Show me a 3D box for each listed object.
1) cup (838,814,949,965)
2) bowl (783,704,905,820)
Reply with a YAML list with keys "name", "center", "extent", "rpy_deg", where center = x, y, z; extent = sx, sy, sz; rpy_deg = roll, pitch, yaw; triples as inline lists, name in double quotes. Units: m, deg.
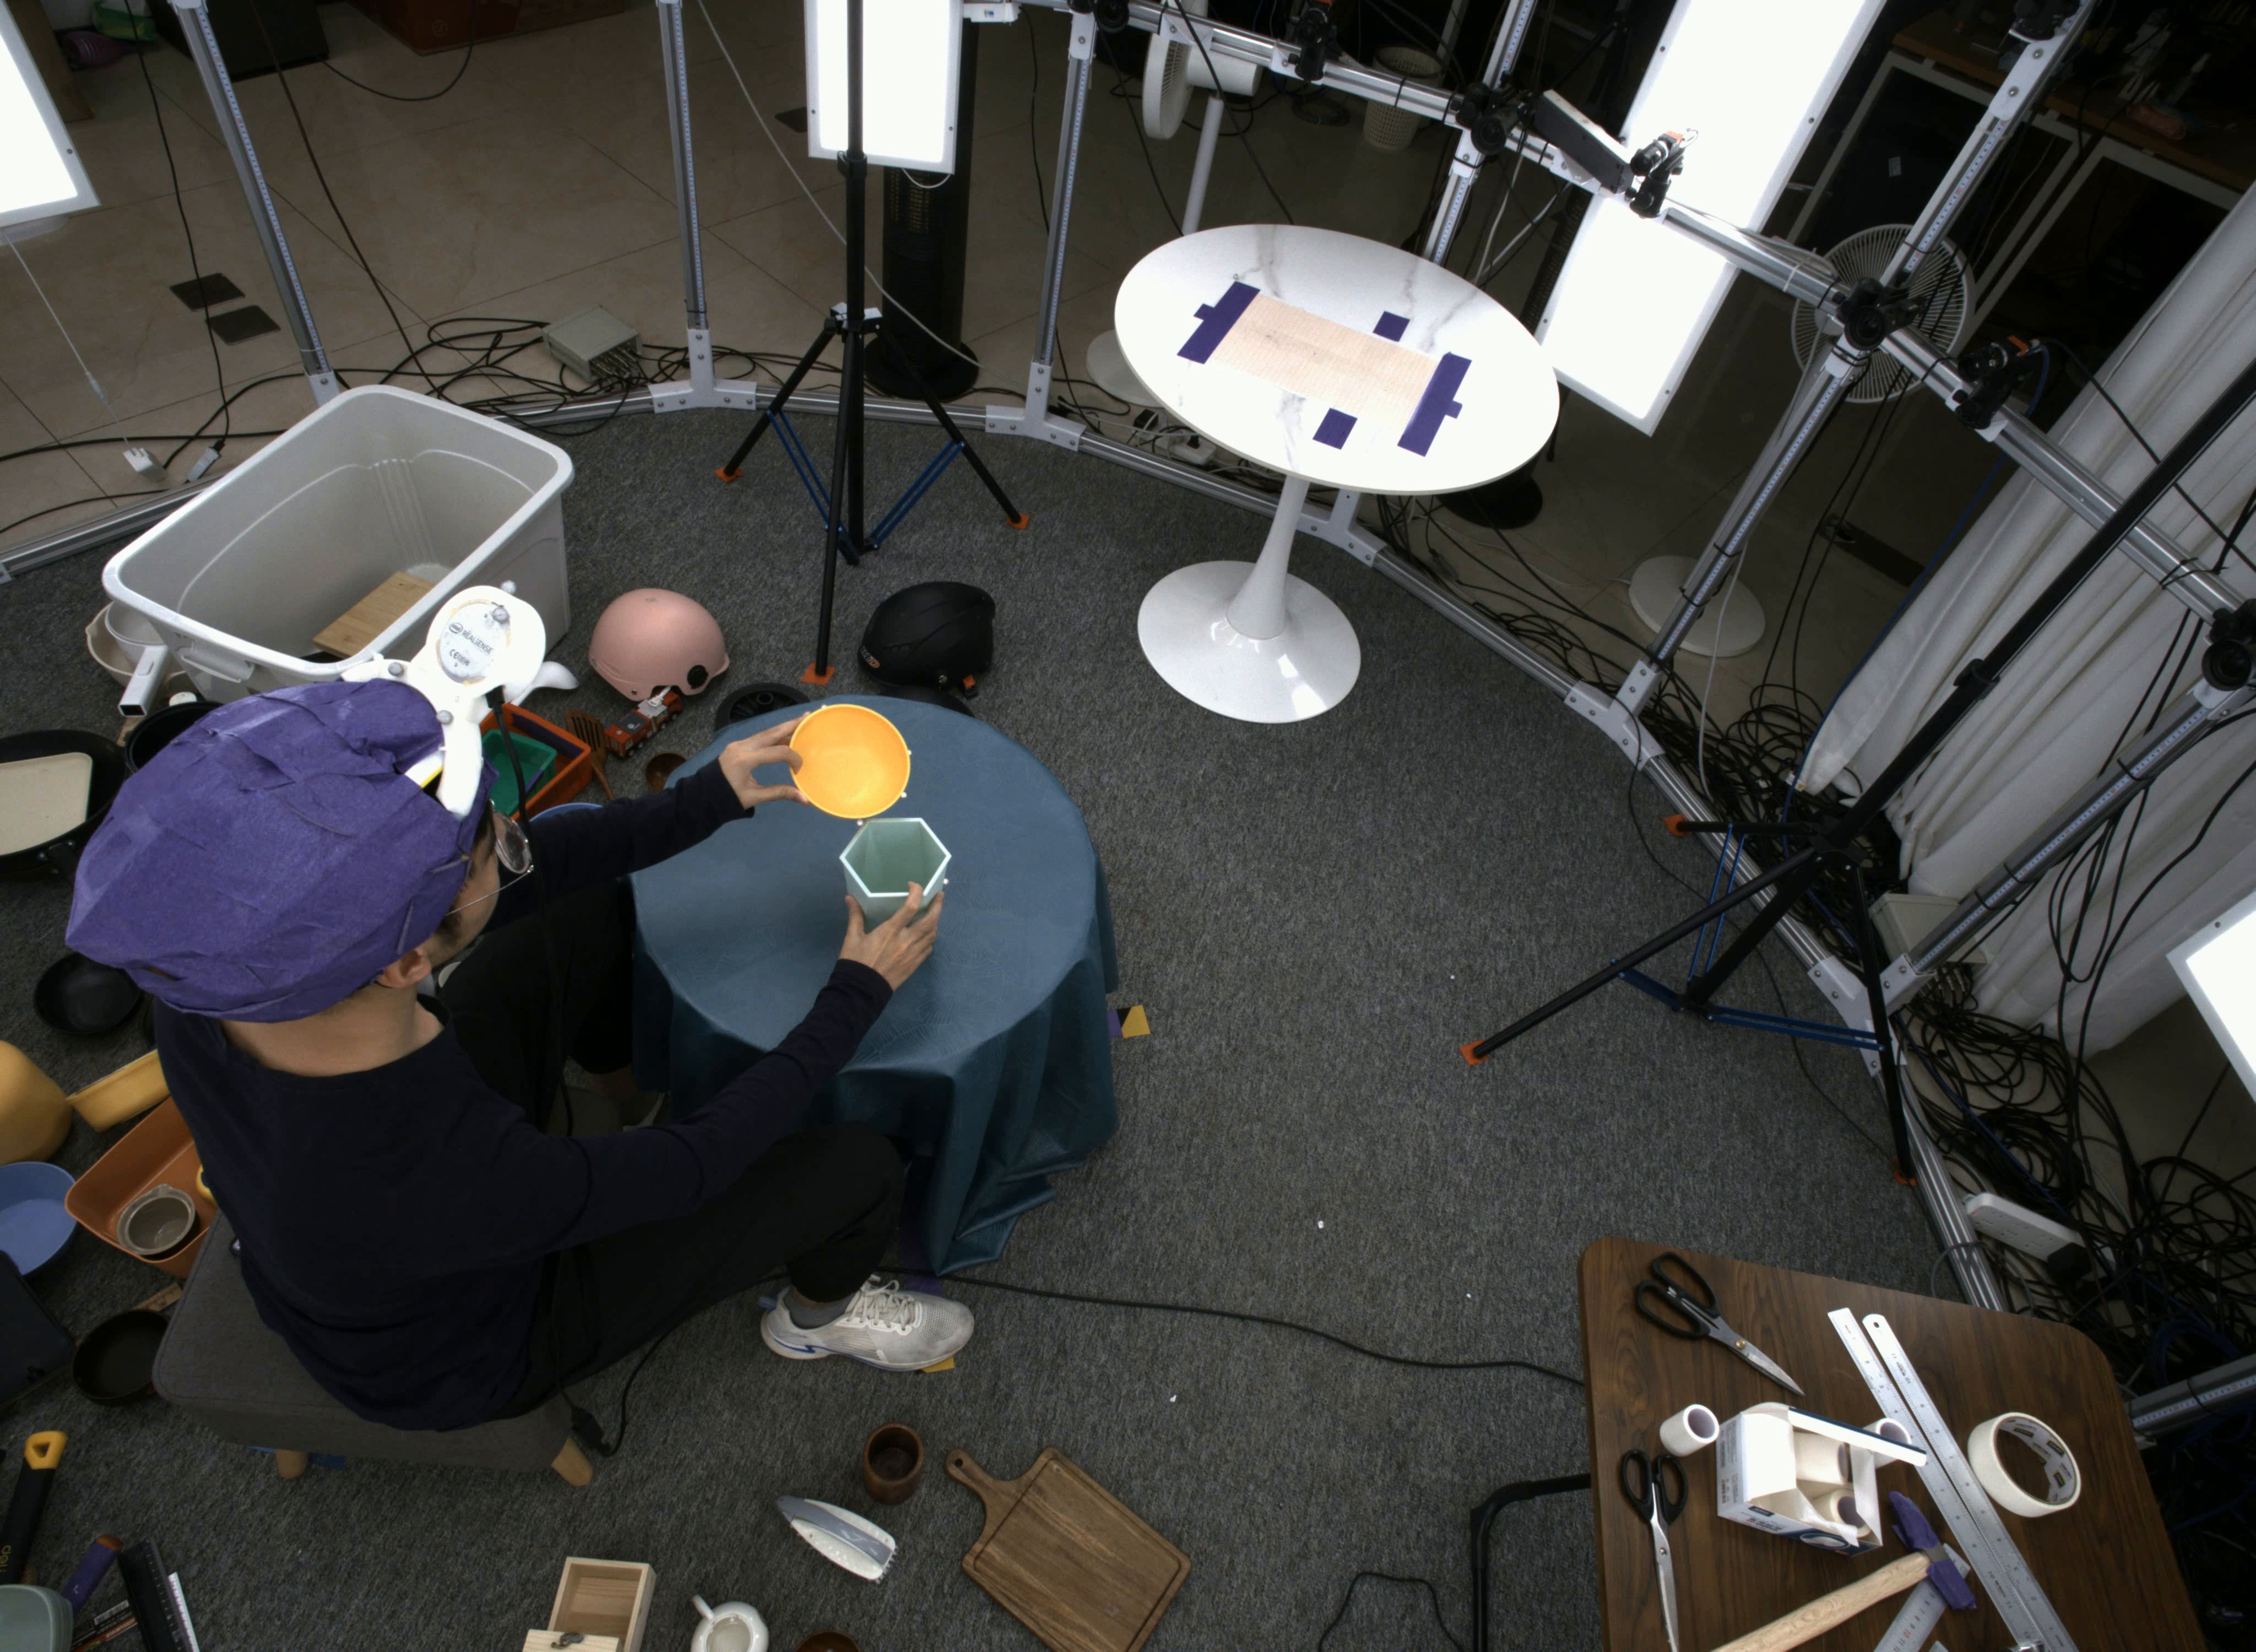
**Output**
- name: "cup"
  center: [-0.286, 0.080, 1.593]
  extent: [0.115, 0.166, 0.128]
  rpy_deg: [-30, 63, -29]
- name: "bowl"
  center: [-0.343, -0.068, 1.552]
  extent: [0.147, 0.060, 0.144]
  rpy_deg: [8, 69, -20]
